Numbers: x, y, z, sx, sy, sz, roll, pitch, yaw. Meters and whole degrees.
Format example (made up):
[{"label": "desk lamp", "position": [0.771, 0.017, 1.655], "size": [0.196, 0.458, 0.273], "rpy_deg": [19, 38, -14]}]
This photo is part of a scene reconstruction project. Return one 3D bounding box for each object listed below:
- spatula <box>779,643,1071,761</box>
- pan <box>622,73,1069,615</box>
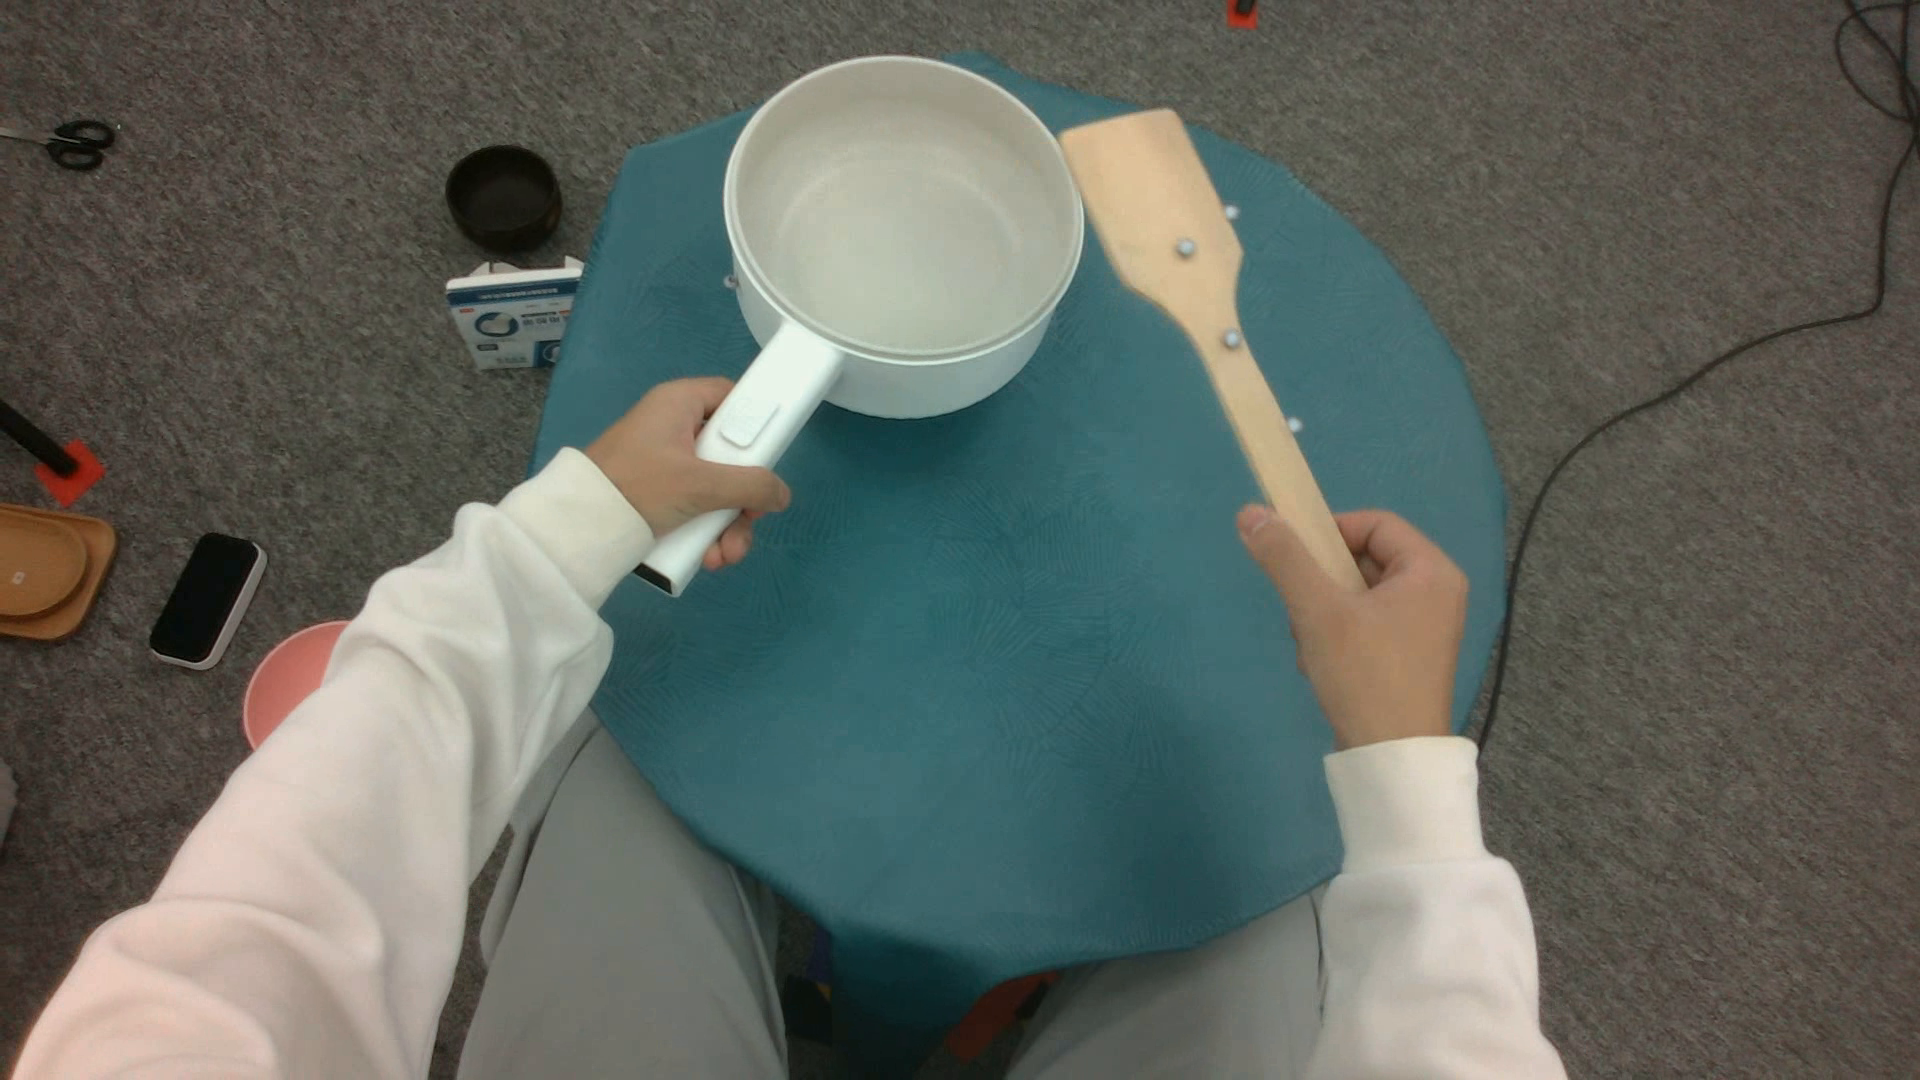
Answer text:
[{"label": "spatula", "position": [-0.038, 0.151, 1.364], "size": [0.293, 0.010, 0.072], "rpy_deg": [14, 67, 3]}, {"label": "pan", "position": [-0.078, -0.105, 0.801], "size": [0.201, 0.101, 0.356], "rpy_deg": [29, 70, 2]}]
